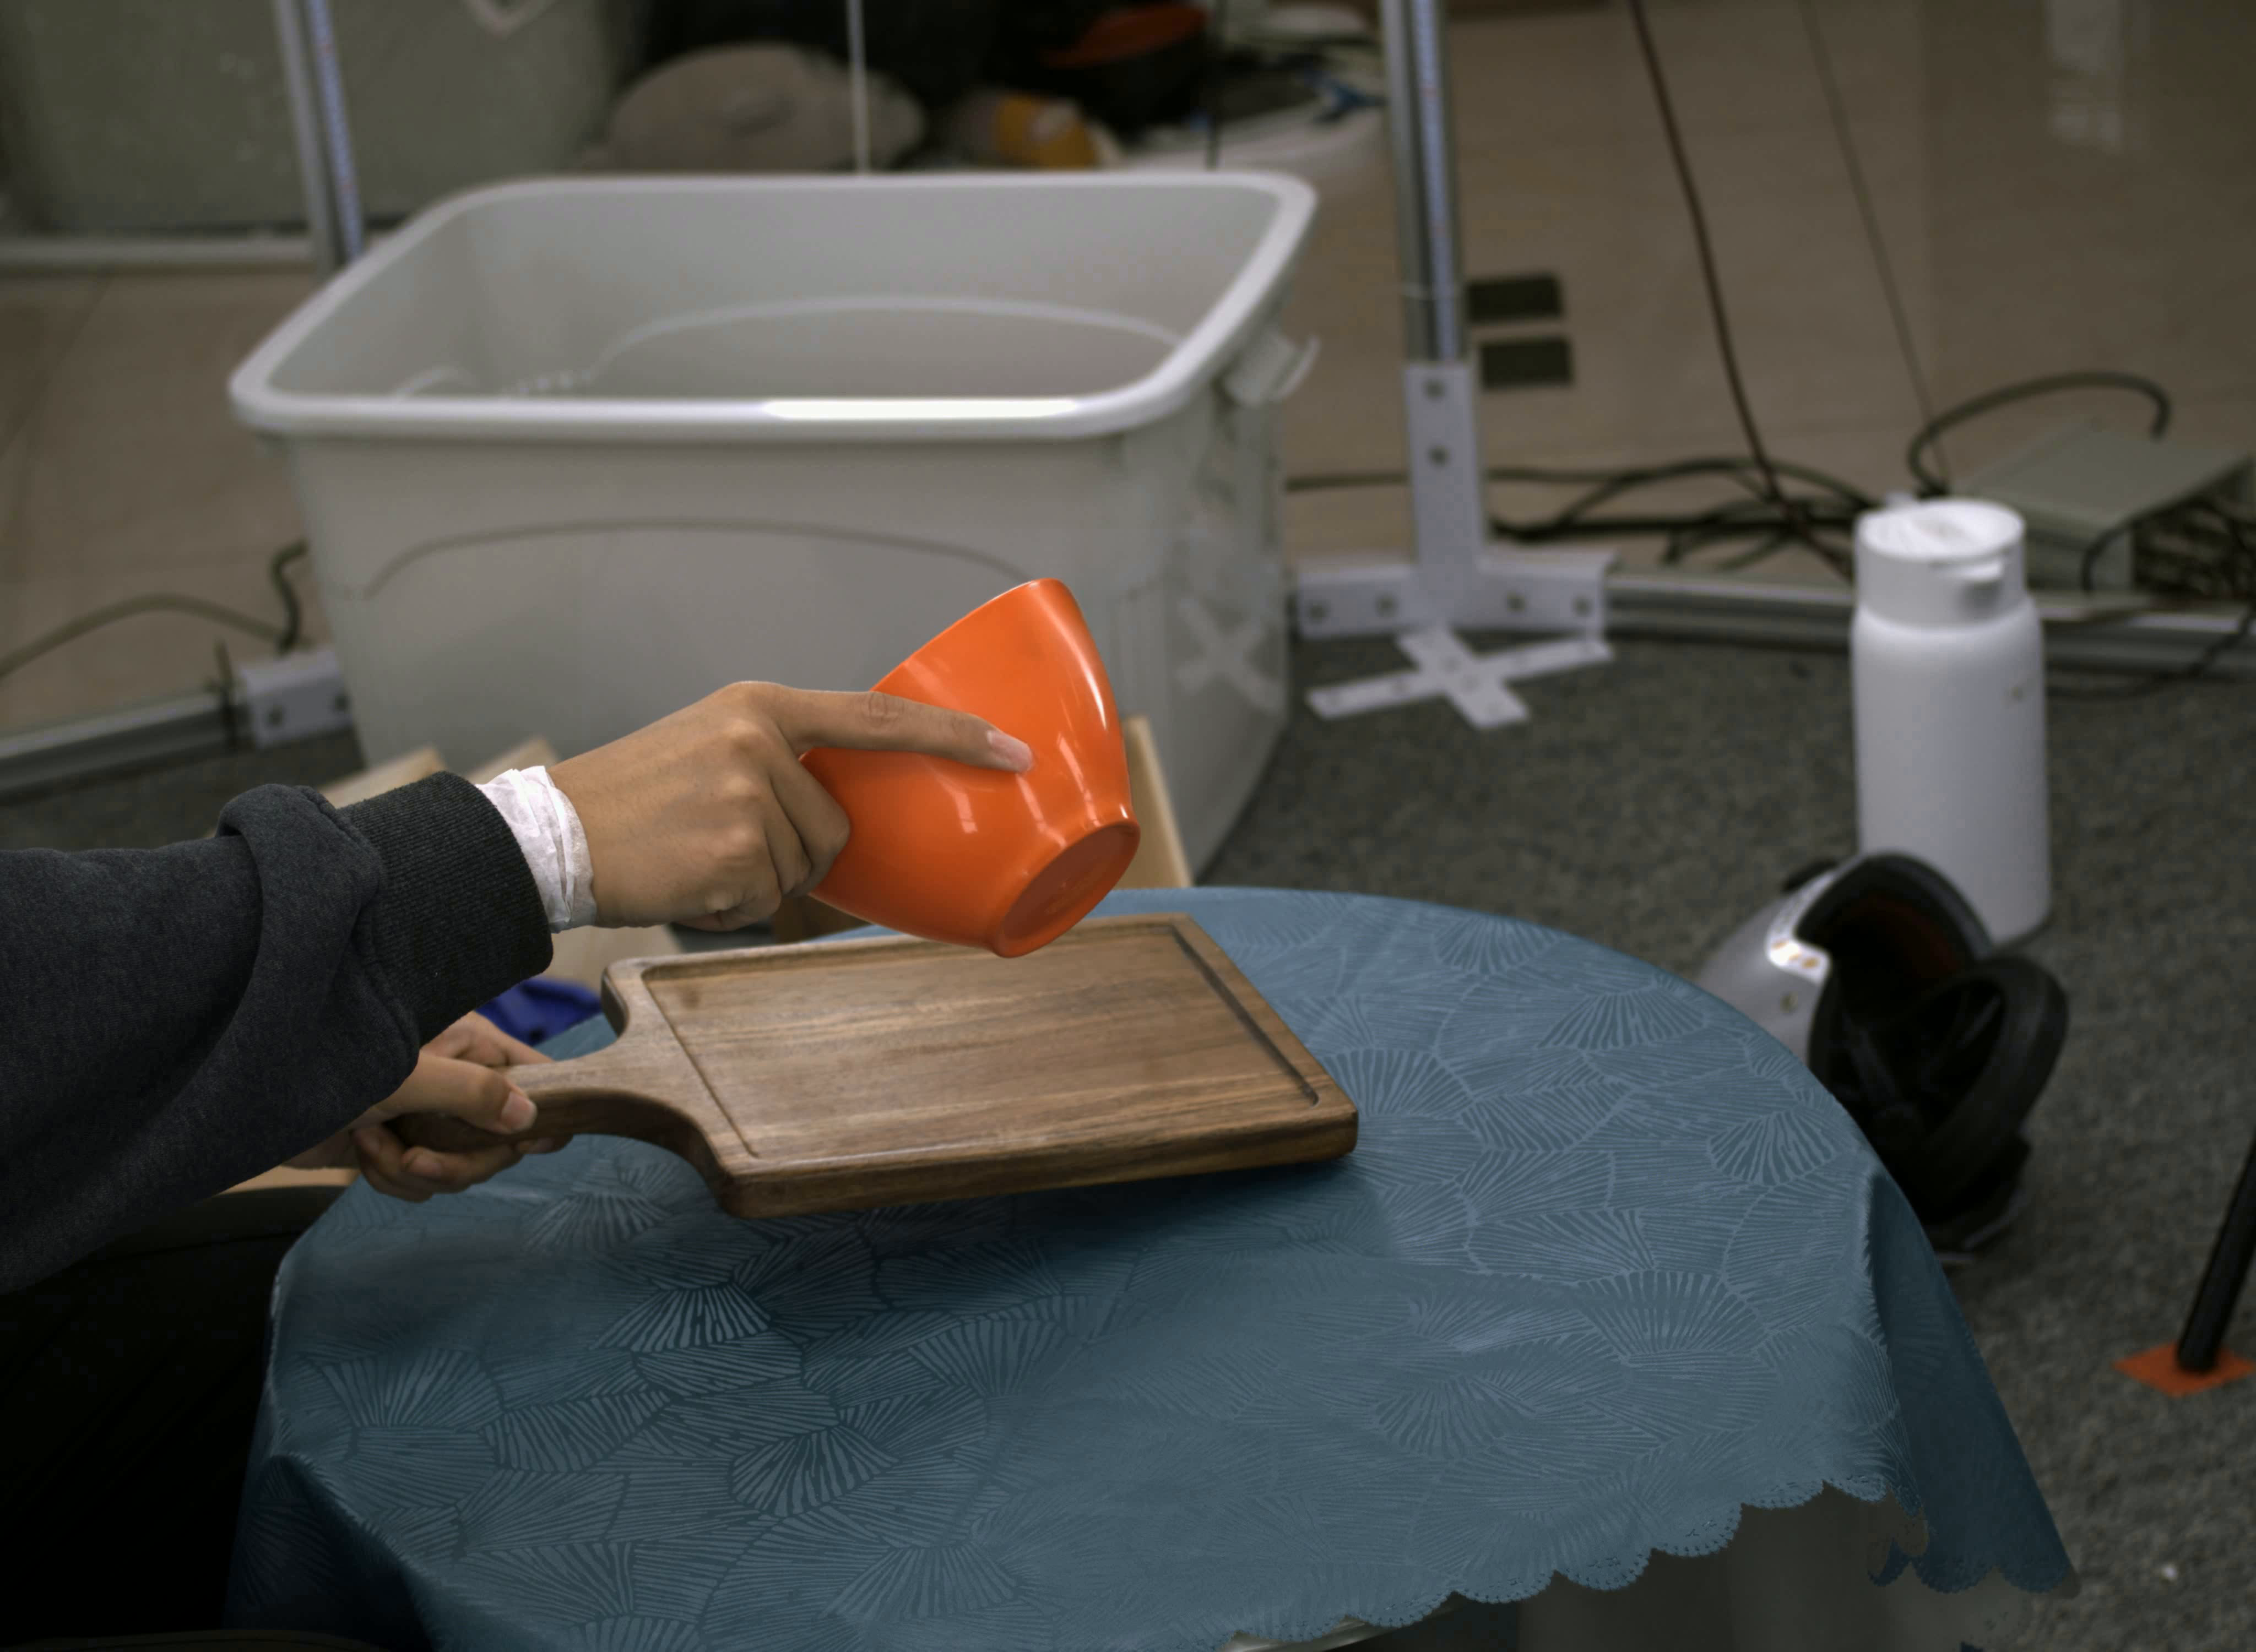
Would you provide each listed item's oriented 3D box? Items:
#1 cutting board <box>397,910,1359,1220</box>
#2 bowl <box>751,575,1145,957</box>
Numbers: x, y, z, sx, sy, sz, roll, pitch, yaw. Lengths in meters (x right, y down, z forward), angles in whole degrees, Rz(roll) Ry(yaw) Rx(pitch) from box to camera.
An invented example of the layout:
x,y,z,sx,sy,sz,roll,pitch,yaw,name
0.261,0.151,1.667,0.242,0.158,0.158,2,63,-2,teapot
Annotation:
x,y,z,sx,sy,sz,roll,pitch,yaw,name
-0.107,0.092,2.169,0.351,0.023,0.198,-5,25,-19,cutting board
-0.050,-0.010,1.977,0.147,0.150,0.104,-27,66,-37,bowl
